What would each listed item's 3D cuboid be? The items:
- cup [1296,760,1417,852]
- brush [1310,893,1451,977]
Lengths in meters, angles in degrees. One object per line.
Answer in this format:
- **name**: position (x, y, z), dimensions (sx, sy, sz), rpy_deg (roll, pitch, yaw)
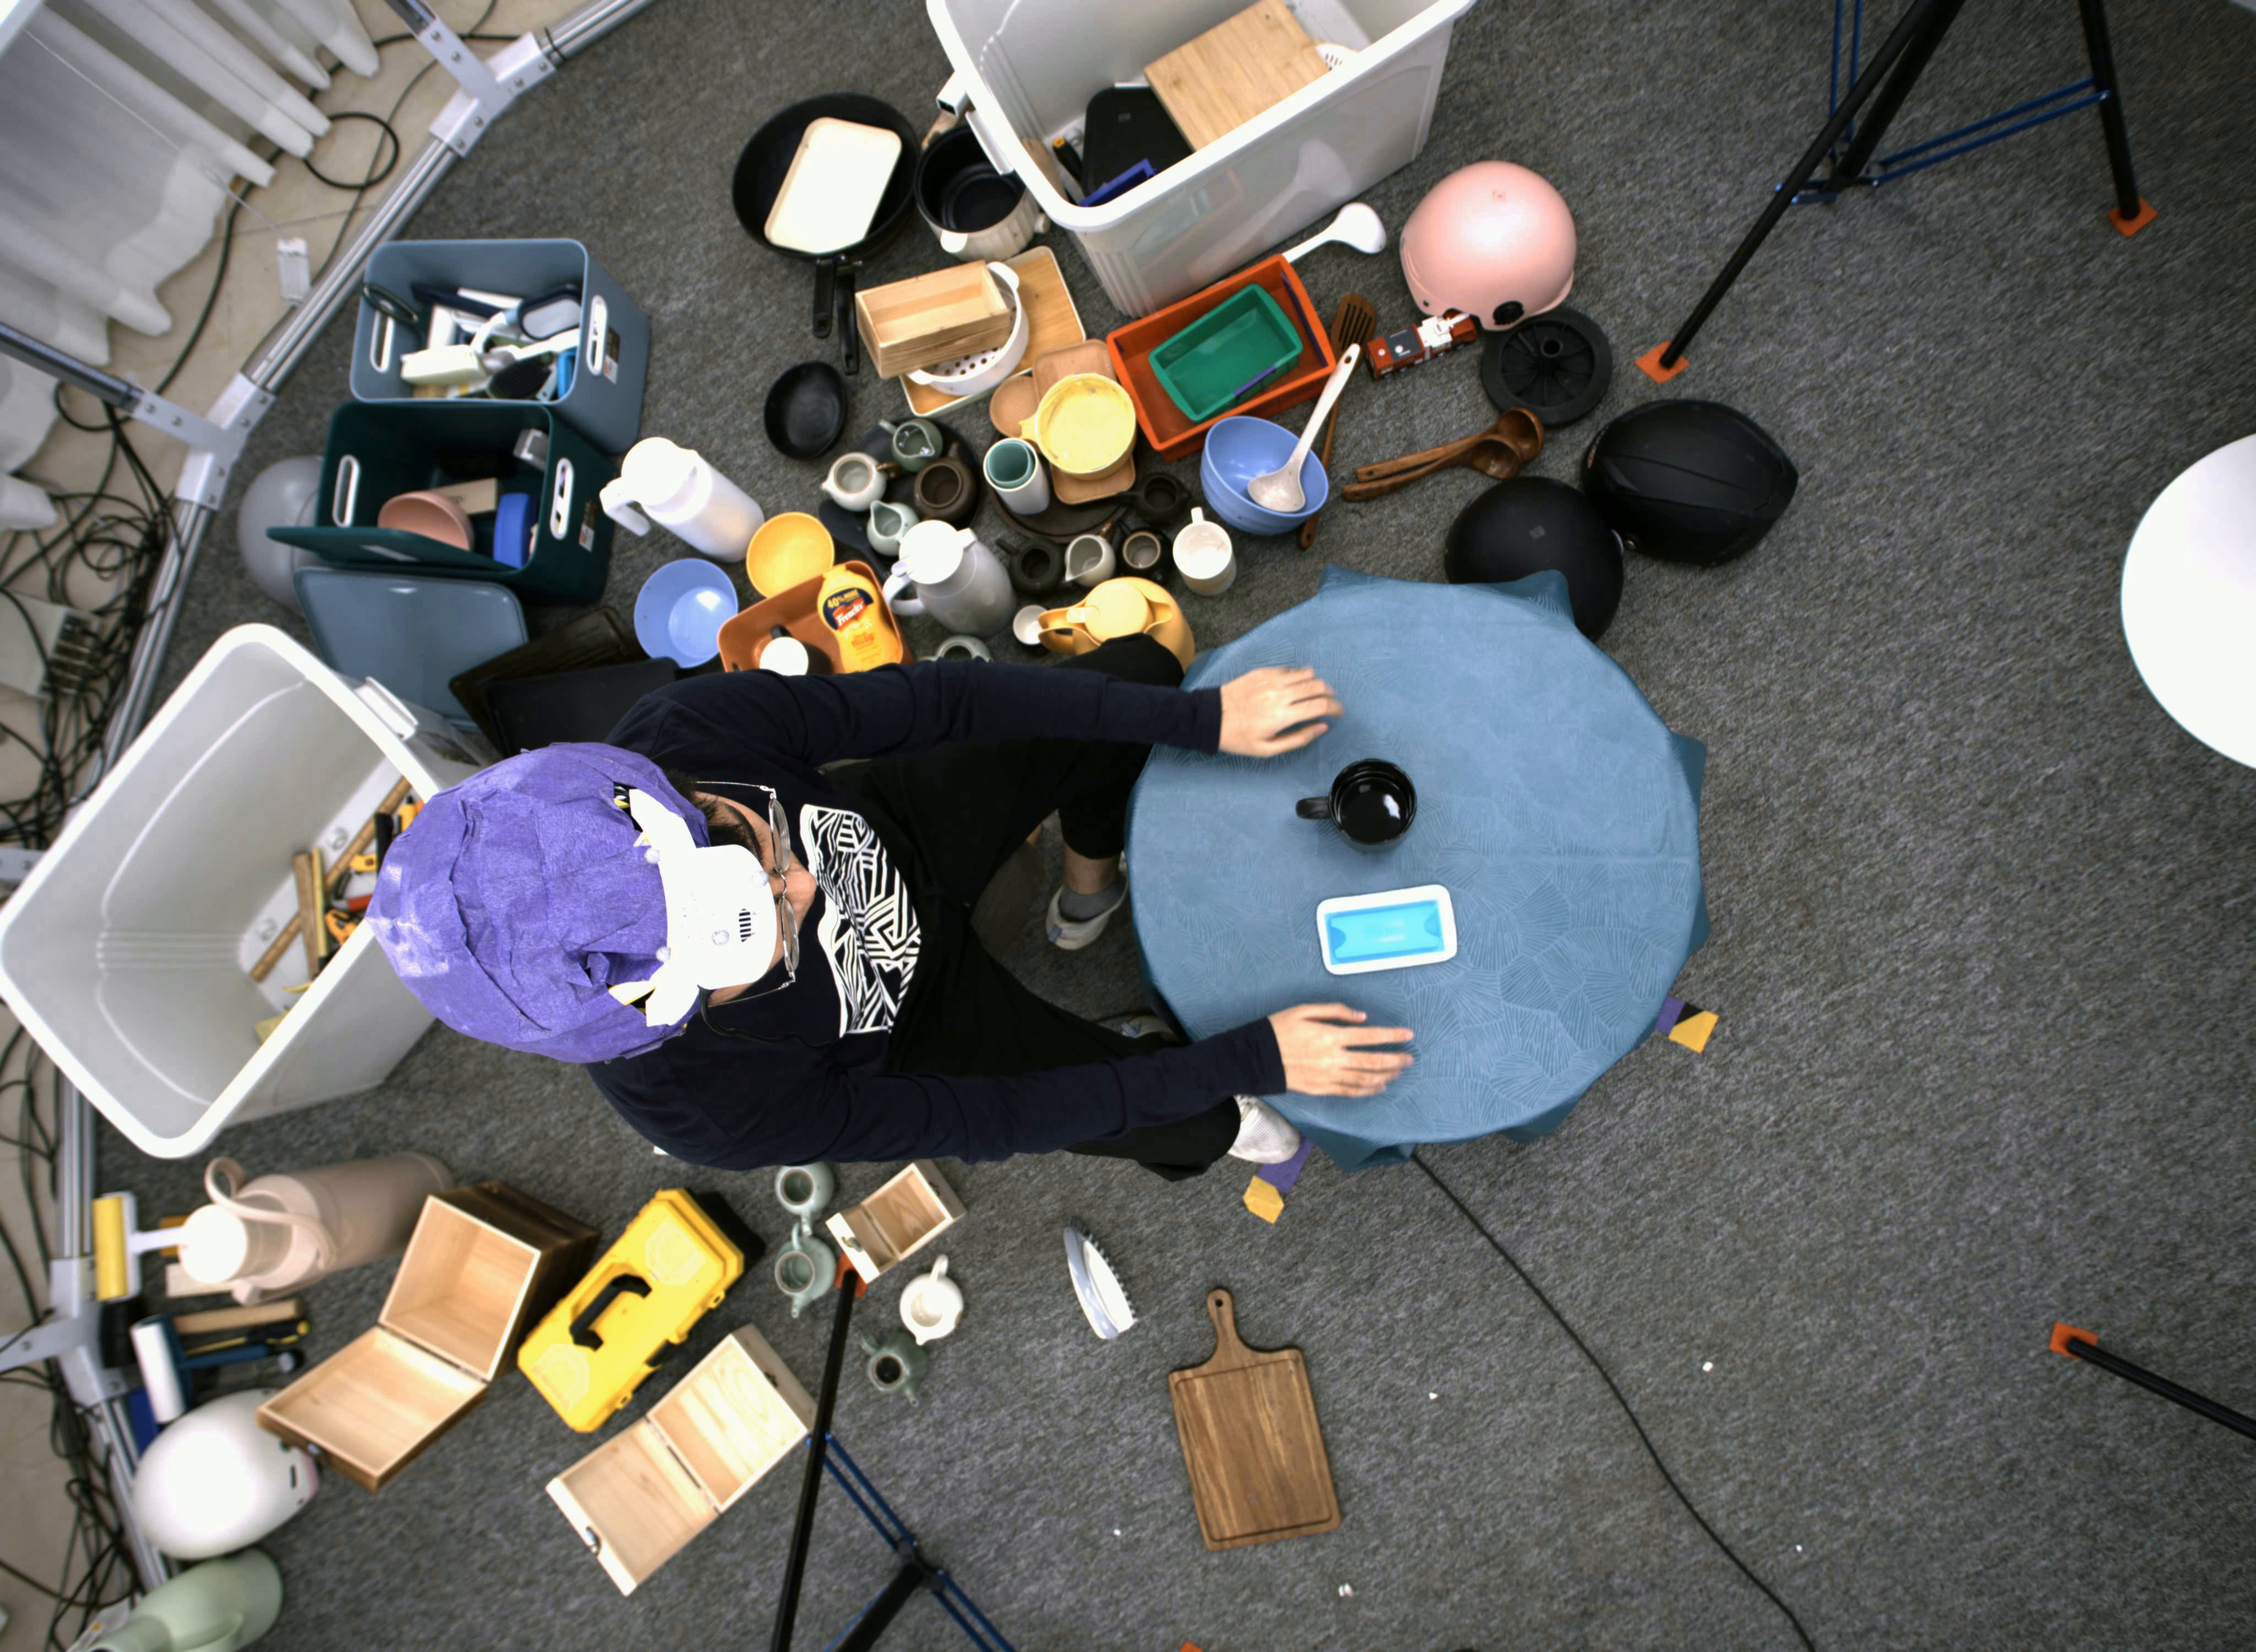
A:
- **cup**: position (0.235, -0.021, 1.419), dimensions (0.124, 0.105, 0.088), rpy_deg (0, 87, 13)
- **brush**: position (0.260, 0.108, 1.428), dimensions (0.144, 0.056, 0.083), rpy_deg (-6, 82, 8)
